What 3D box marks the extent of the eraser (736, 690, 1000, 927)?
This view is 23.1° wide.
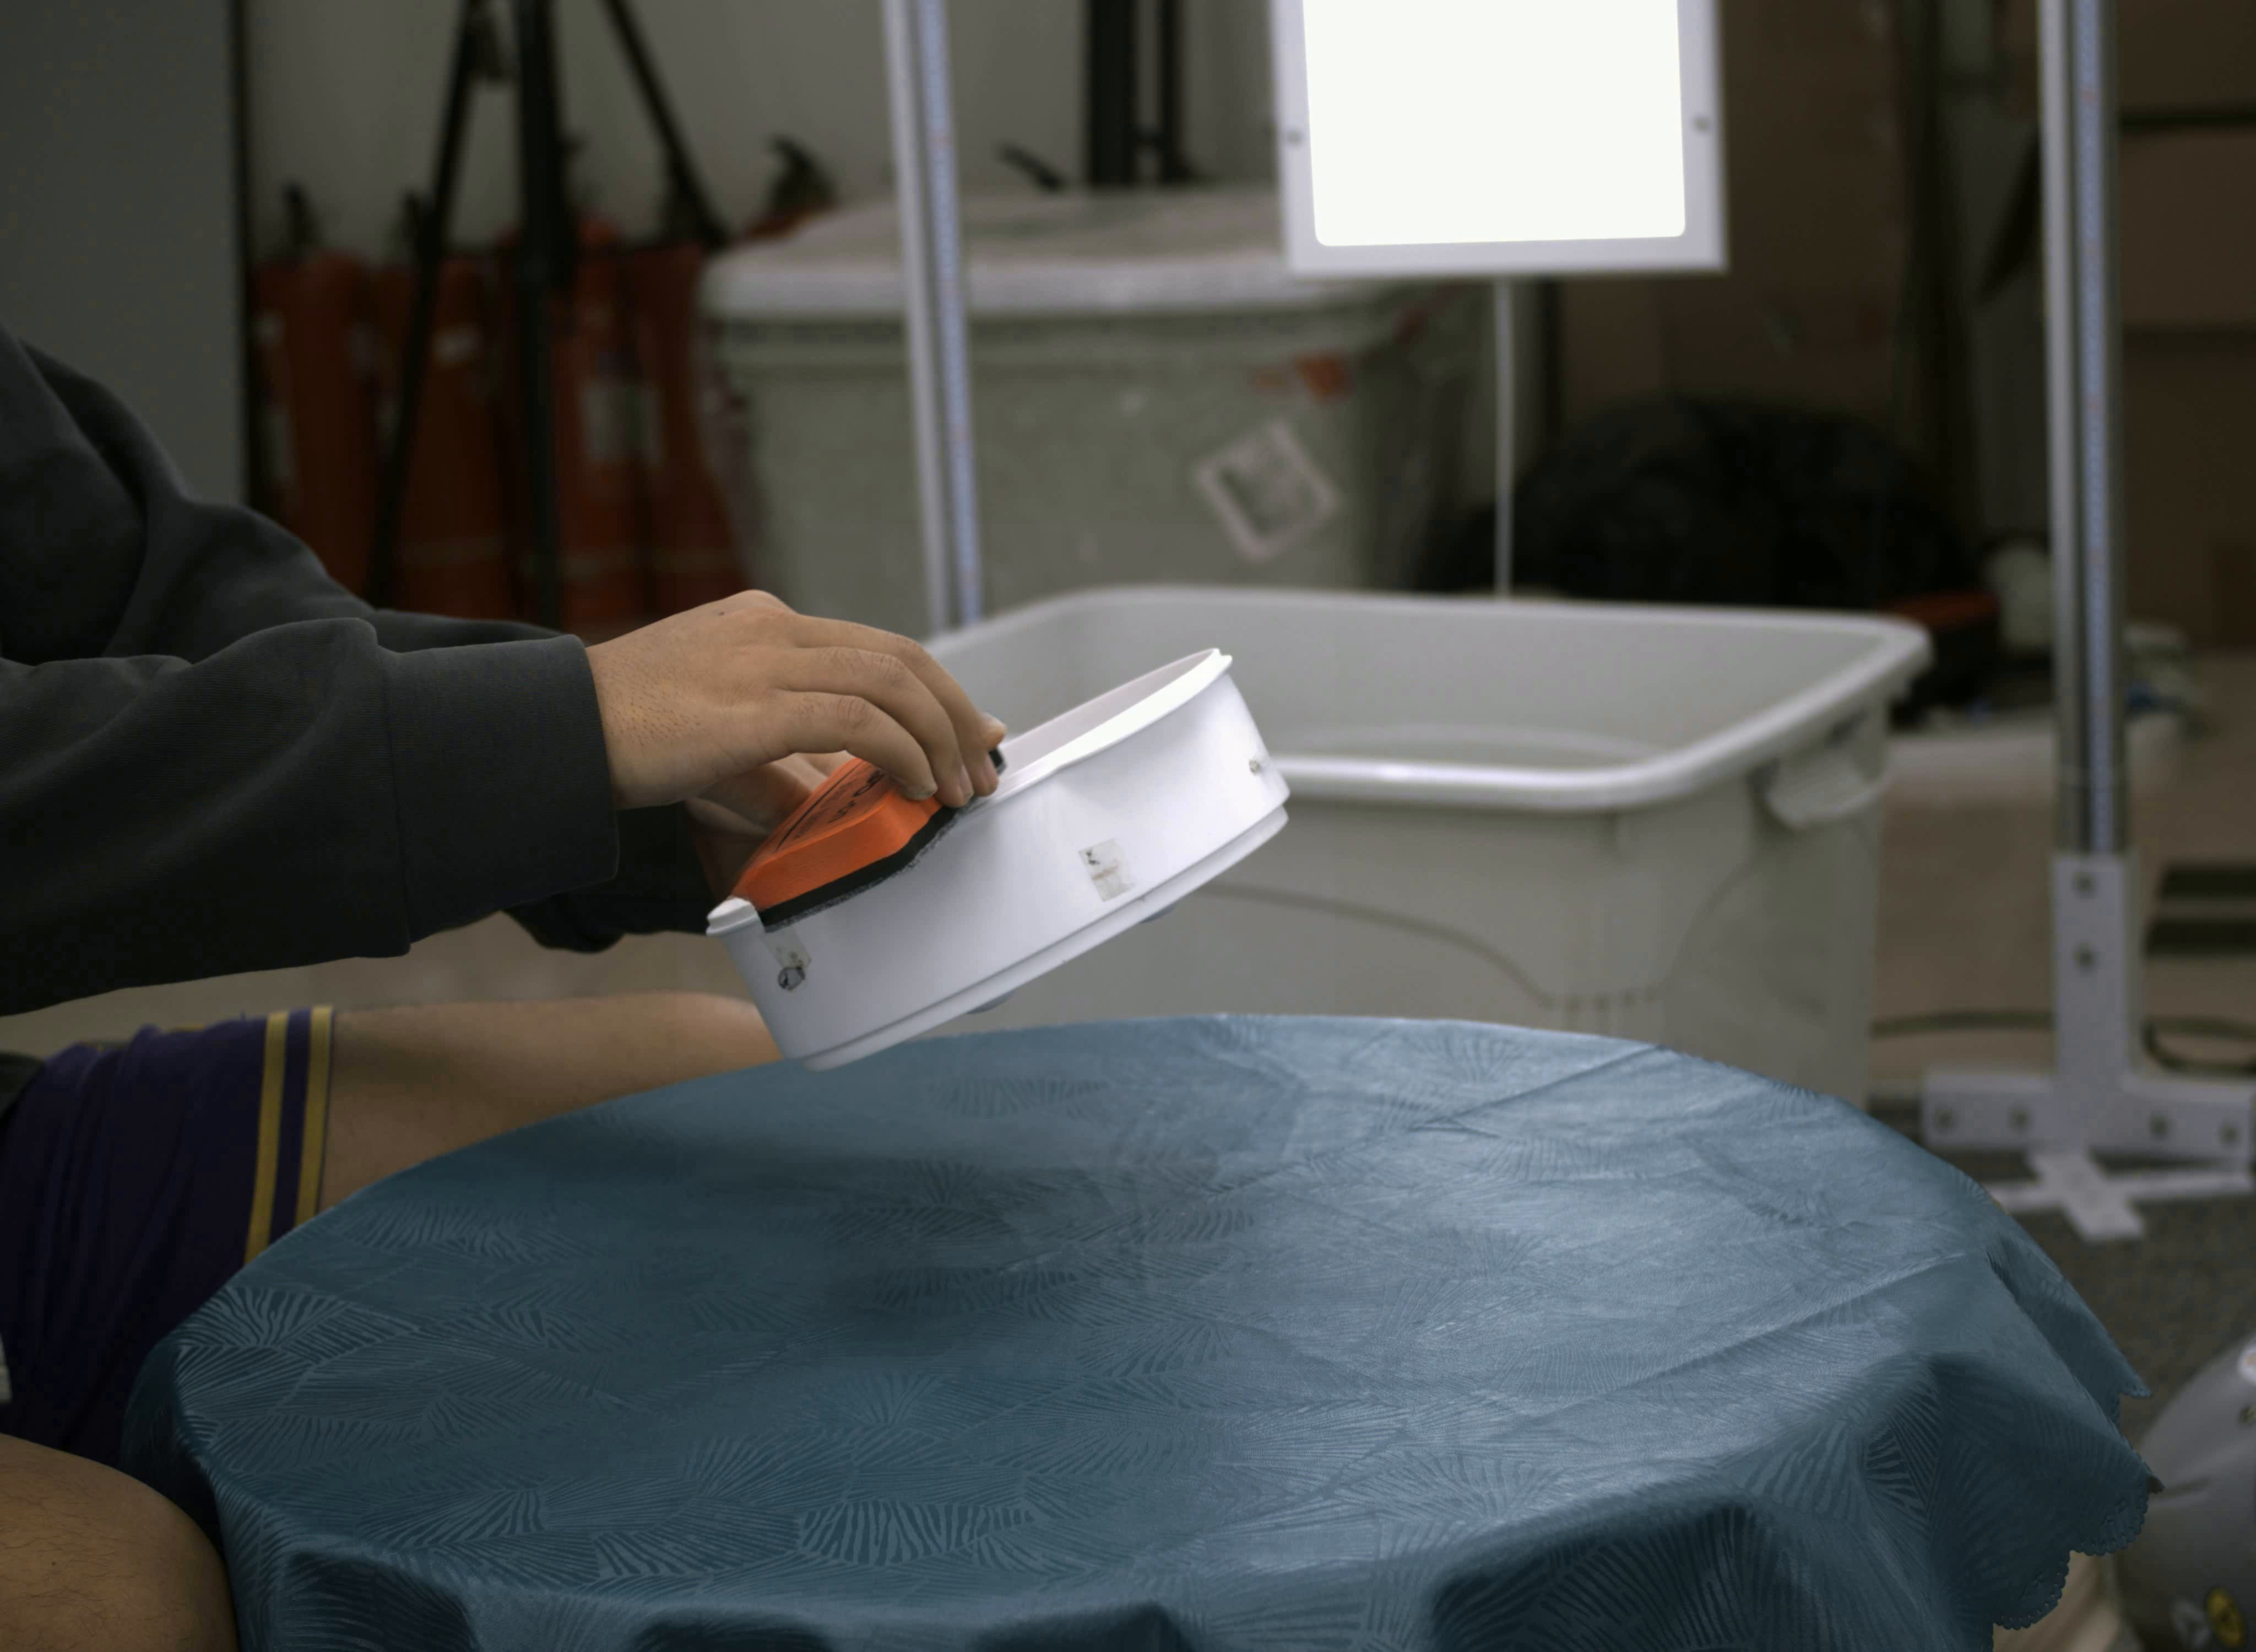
[{"bbox_3d":[-0.081,-0.006,1.743,0.060,0.023,0.106,-30,10,26],"label":"eraser"}]

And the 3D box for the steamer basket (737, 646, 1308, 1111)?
[{"bbox_3d":[-0.032,0.020,1.852,0.197,0.069,0.235,-36,4,-38],"label":"steamer basket"}]
